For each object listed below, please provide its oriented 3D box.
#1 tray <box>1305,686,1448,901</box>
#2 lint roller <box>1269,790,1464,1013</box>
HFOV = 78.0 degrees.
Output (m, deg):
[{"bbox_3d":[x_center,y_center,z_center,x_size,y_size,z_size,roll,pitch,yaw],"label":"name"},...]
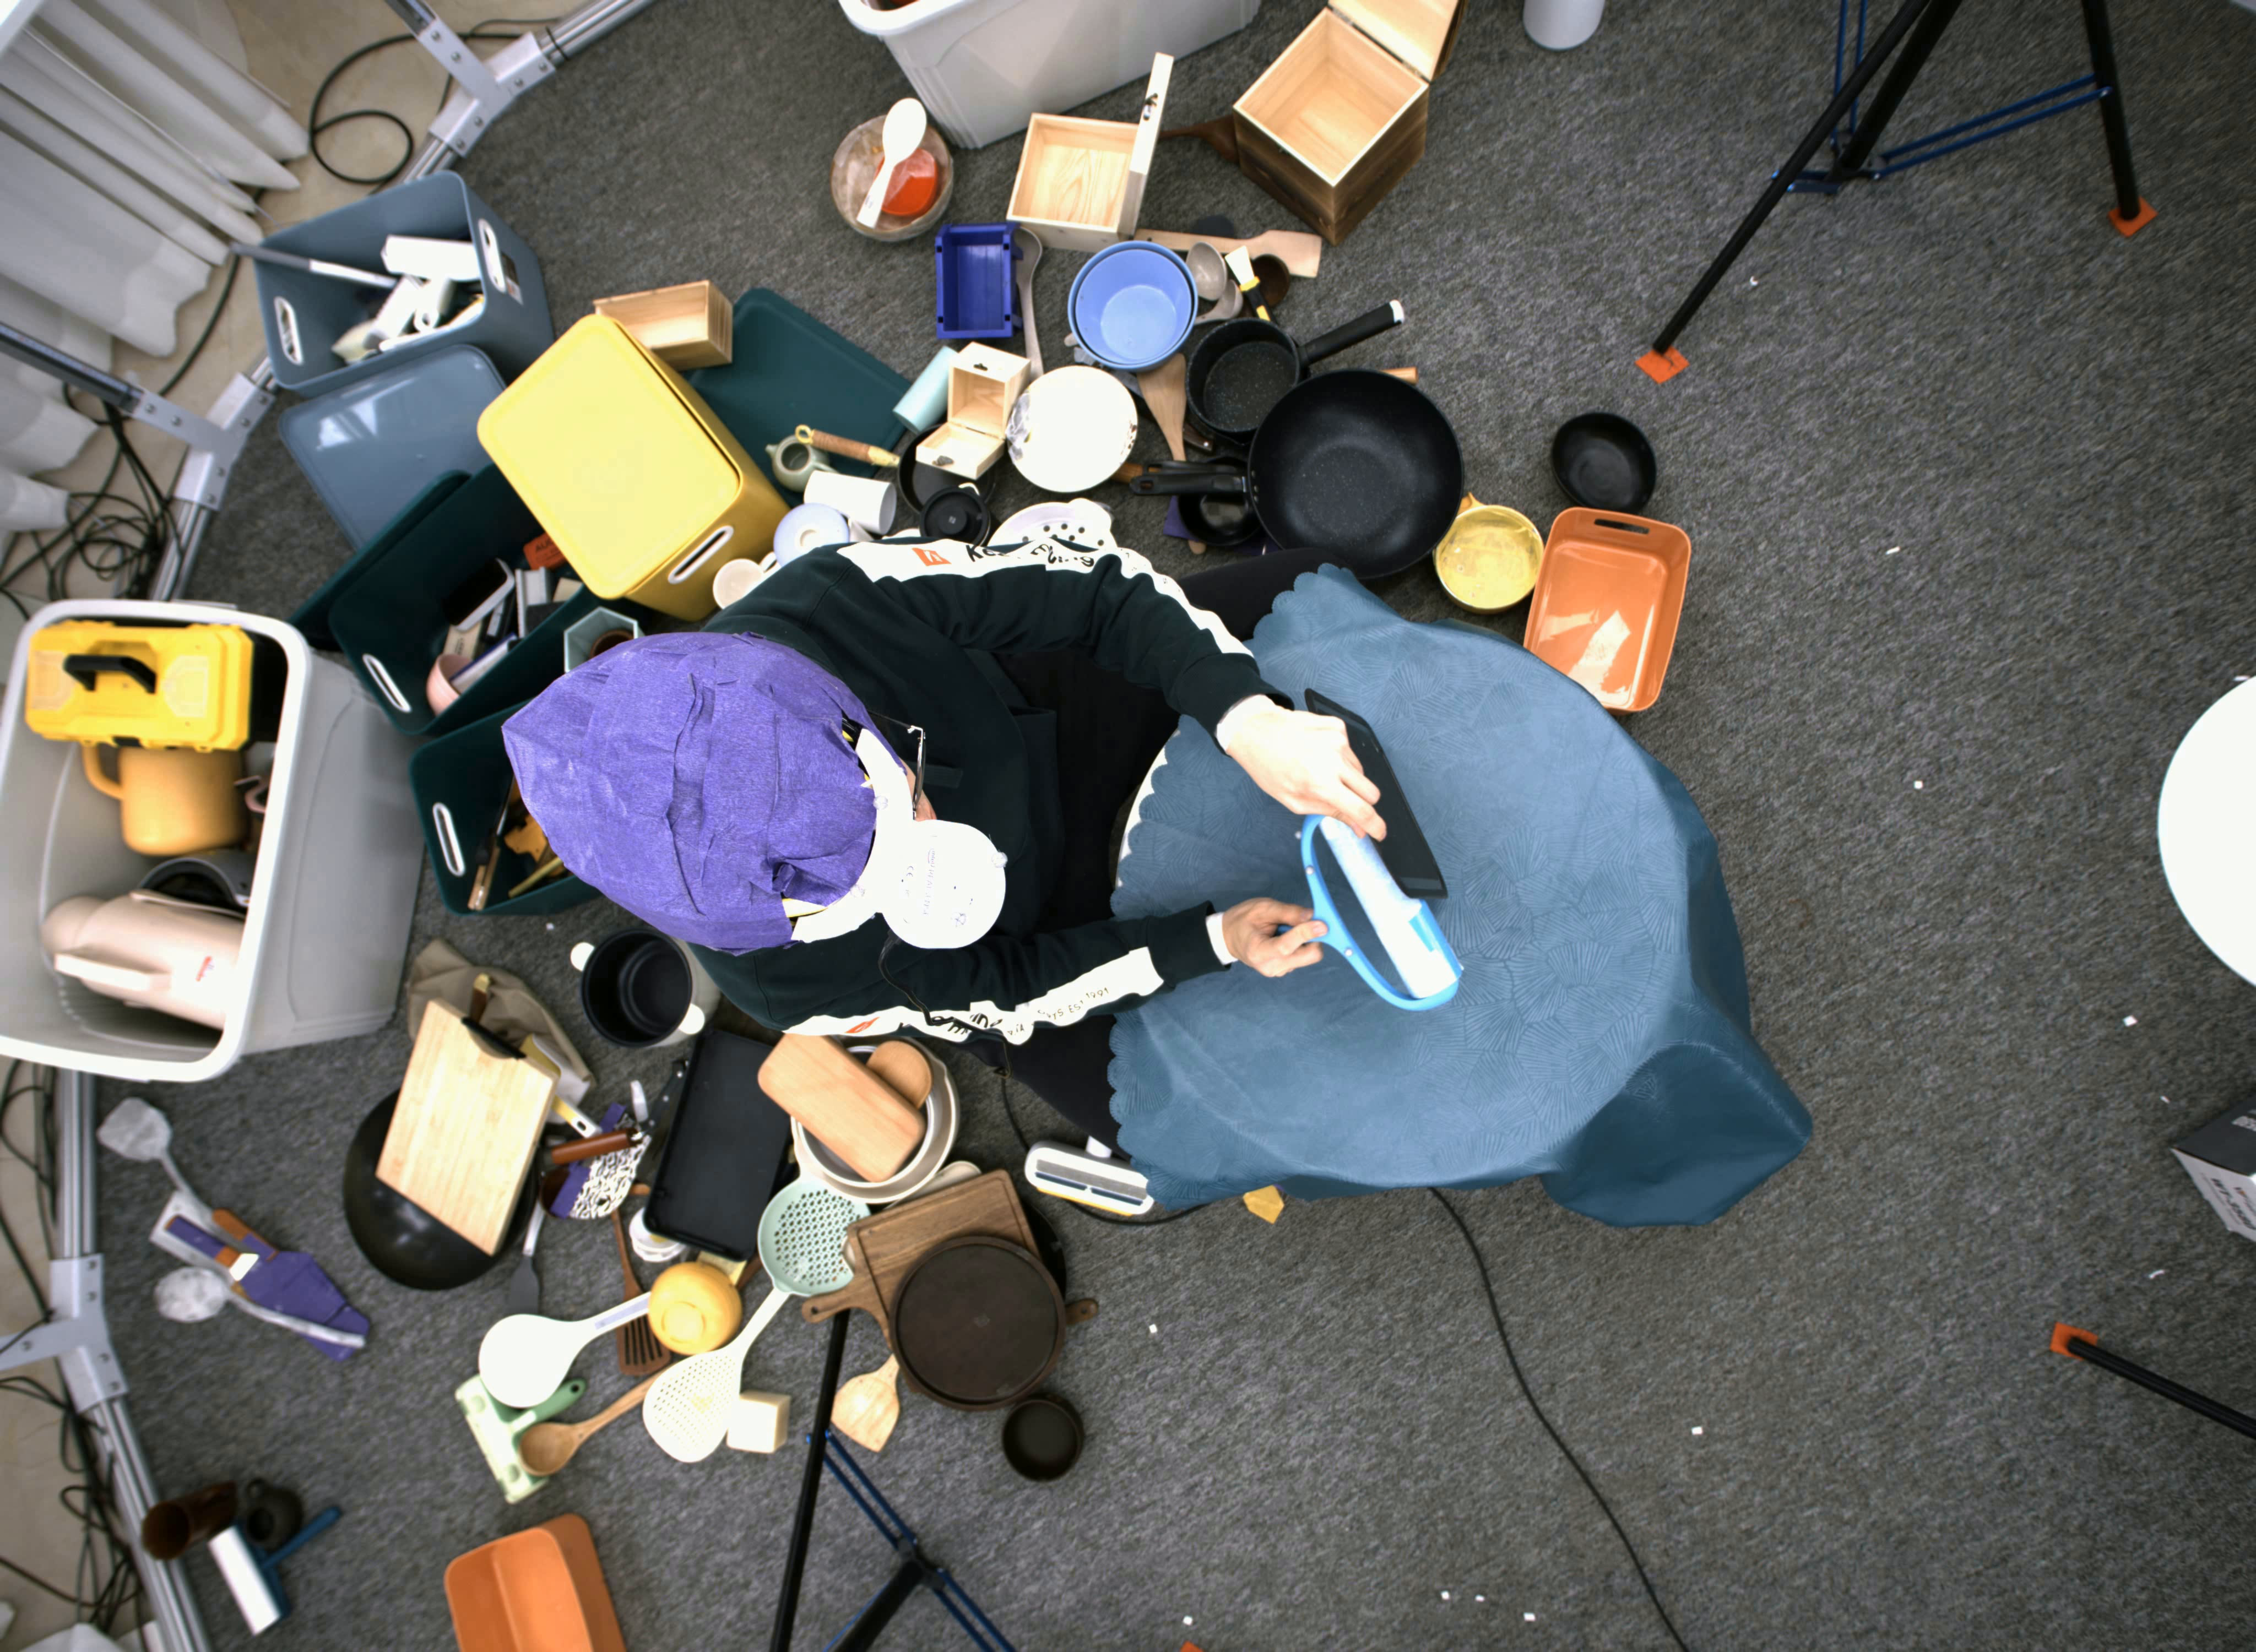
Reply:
[{"bbox_3d":[0.240,-0.027,1.302,0.010,0.324,0.209,-27,78,18],"label":"tray"},{"bbox_3d":[0.197,0.089,1.303,0.183,0.066,0.230,-27,102,39],"label":"lint roller"}]
